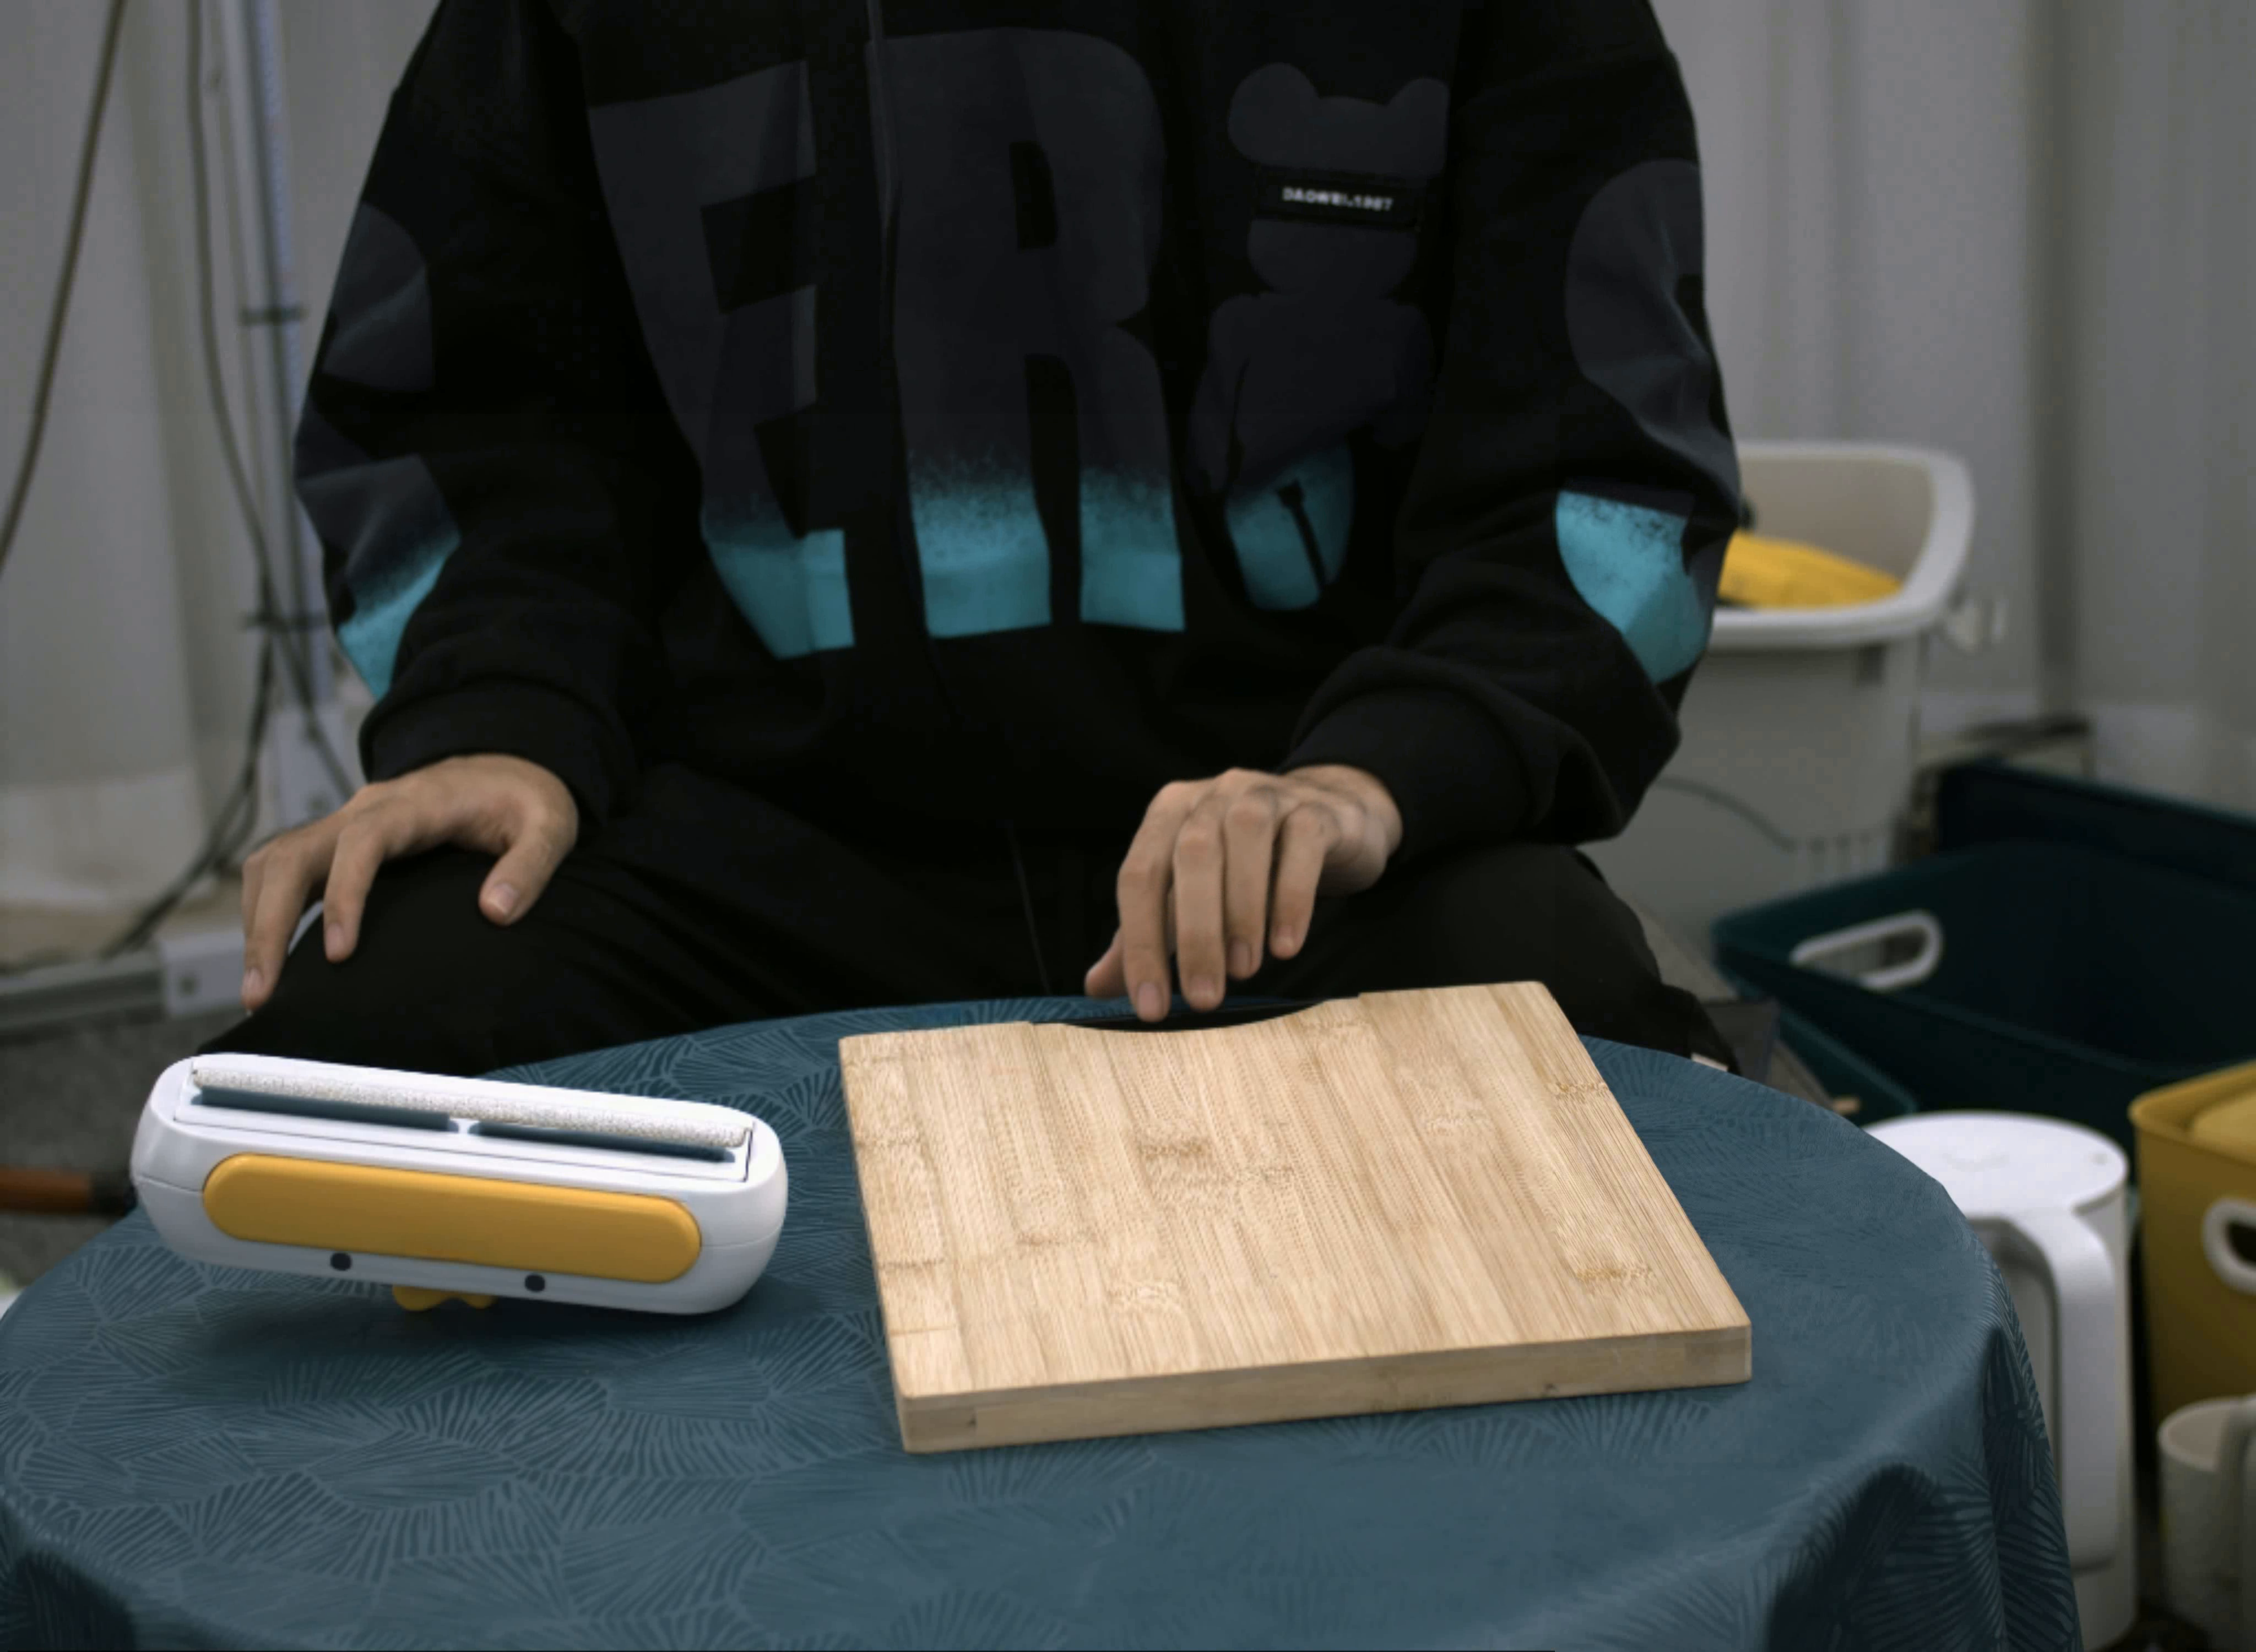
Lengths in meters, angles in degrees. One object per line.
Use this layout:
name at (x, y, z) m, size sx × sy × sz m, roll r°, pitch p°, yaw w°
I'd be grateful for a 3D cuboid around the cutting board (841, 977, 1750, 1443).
cutting board at (0.039, 0.113, 1.683) m, size 0.250 × 0.023 × 0.351 m, roll -4°, pitch 15°, yaw -5°

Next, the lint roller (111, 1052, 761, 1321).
lint roller at (-0.203, 0.100, 1.684) m, size 0.192 × 0.074 × 0.193 m, roll 3°, pitch 13°, yaw 2°
